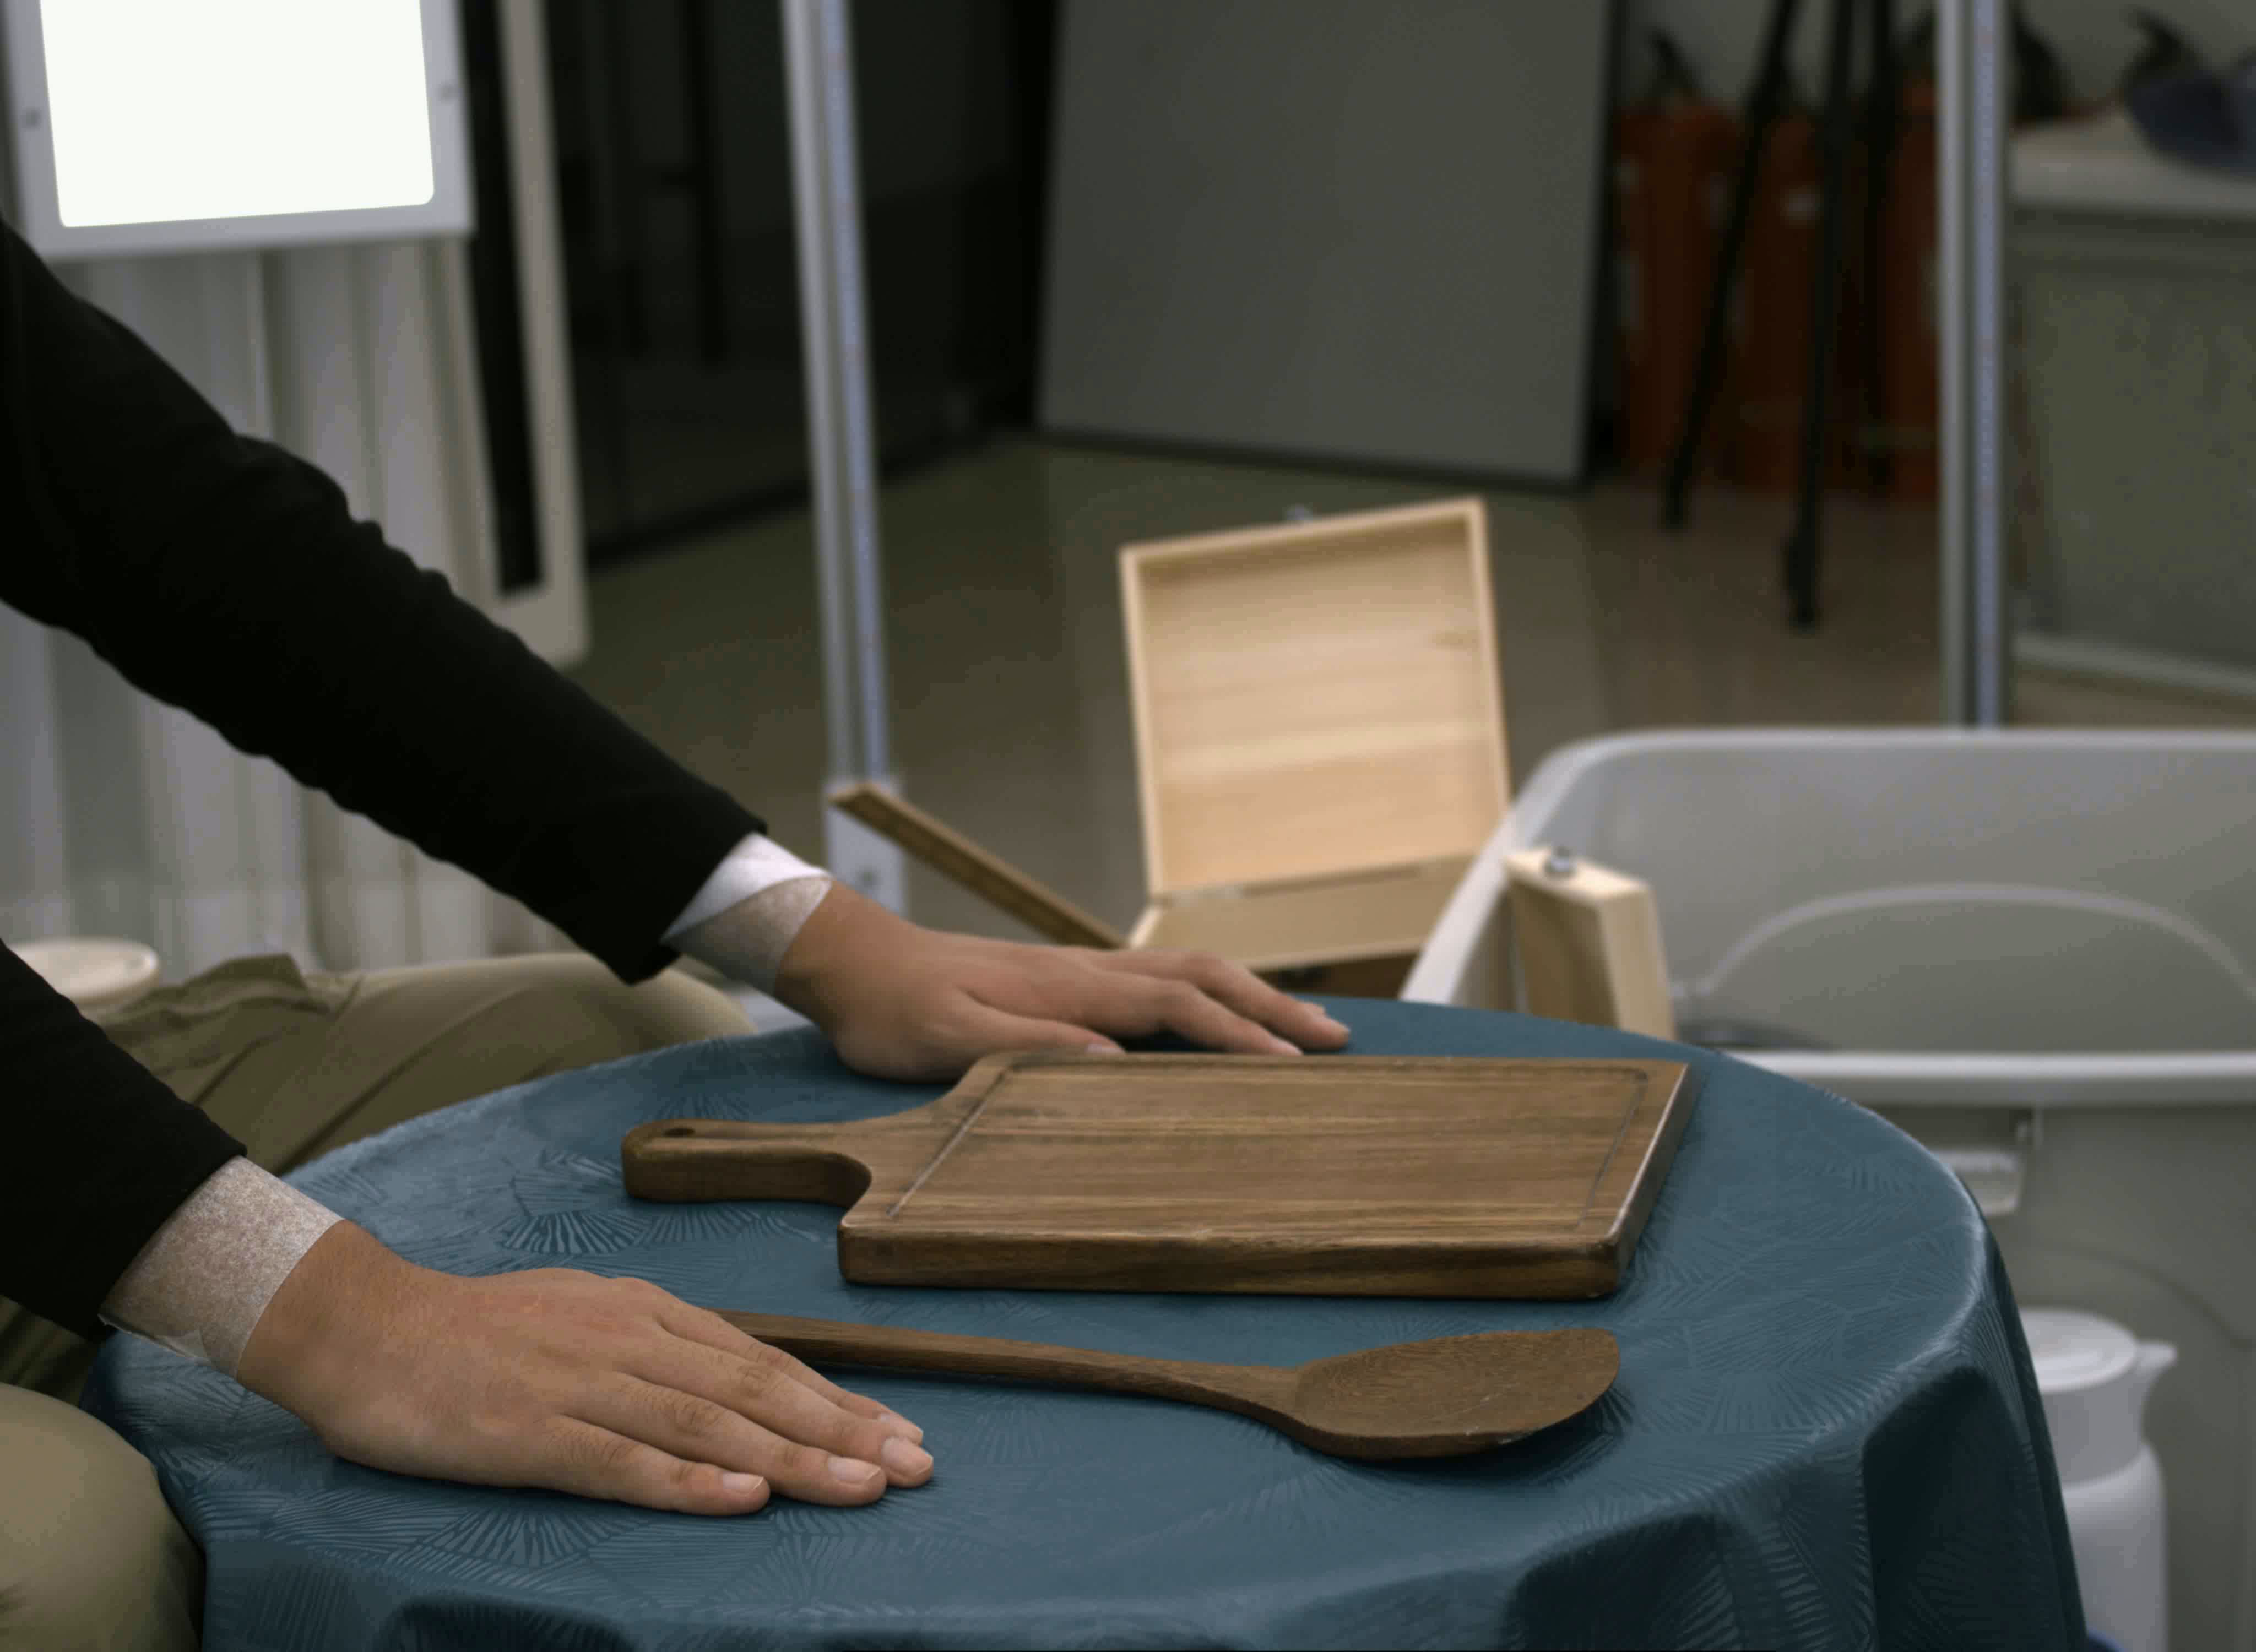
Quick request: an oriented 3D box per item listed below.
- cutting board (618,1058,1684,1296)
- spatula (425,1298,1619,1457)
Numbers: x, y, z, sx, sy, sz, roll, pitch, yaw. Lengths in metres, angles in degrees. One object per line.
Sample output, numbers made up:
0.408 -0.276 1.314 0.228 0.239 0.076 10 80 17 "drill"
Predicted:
0.001 0.112 1.764 0.350 0.023 0.200 -1 14 14 "cutting board"
-0.041 0.158 1.600 0.386 0.016 0.095 2 14 24 "spatula"
